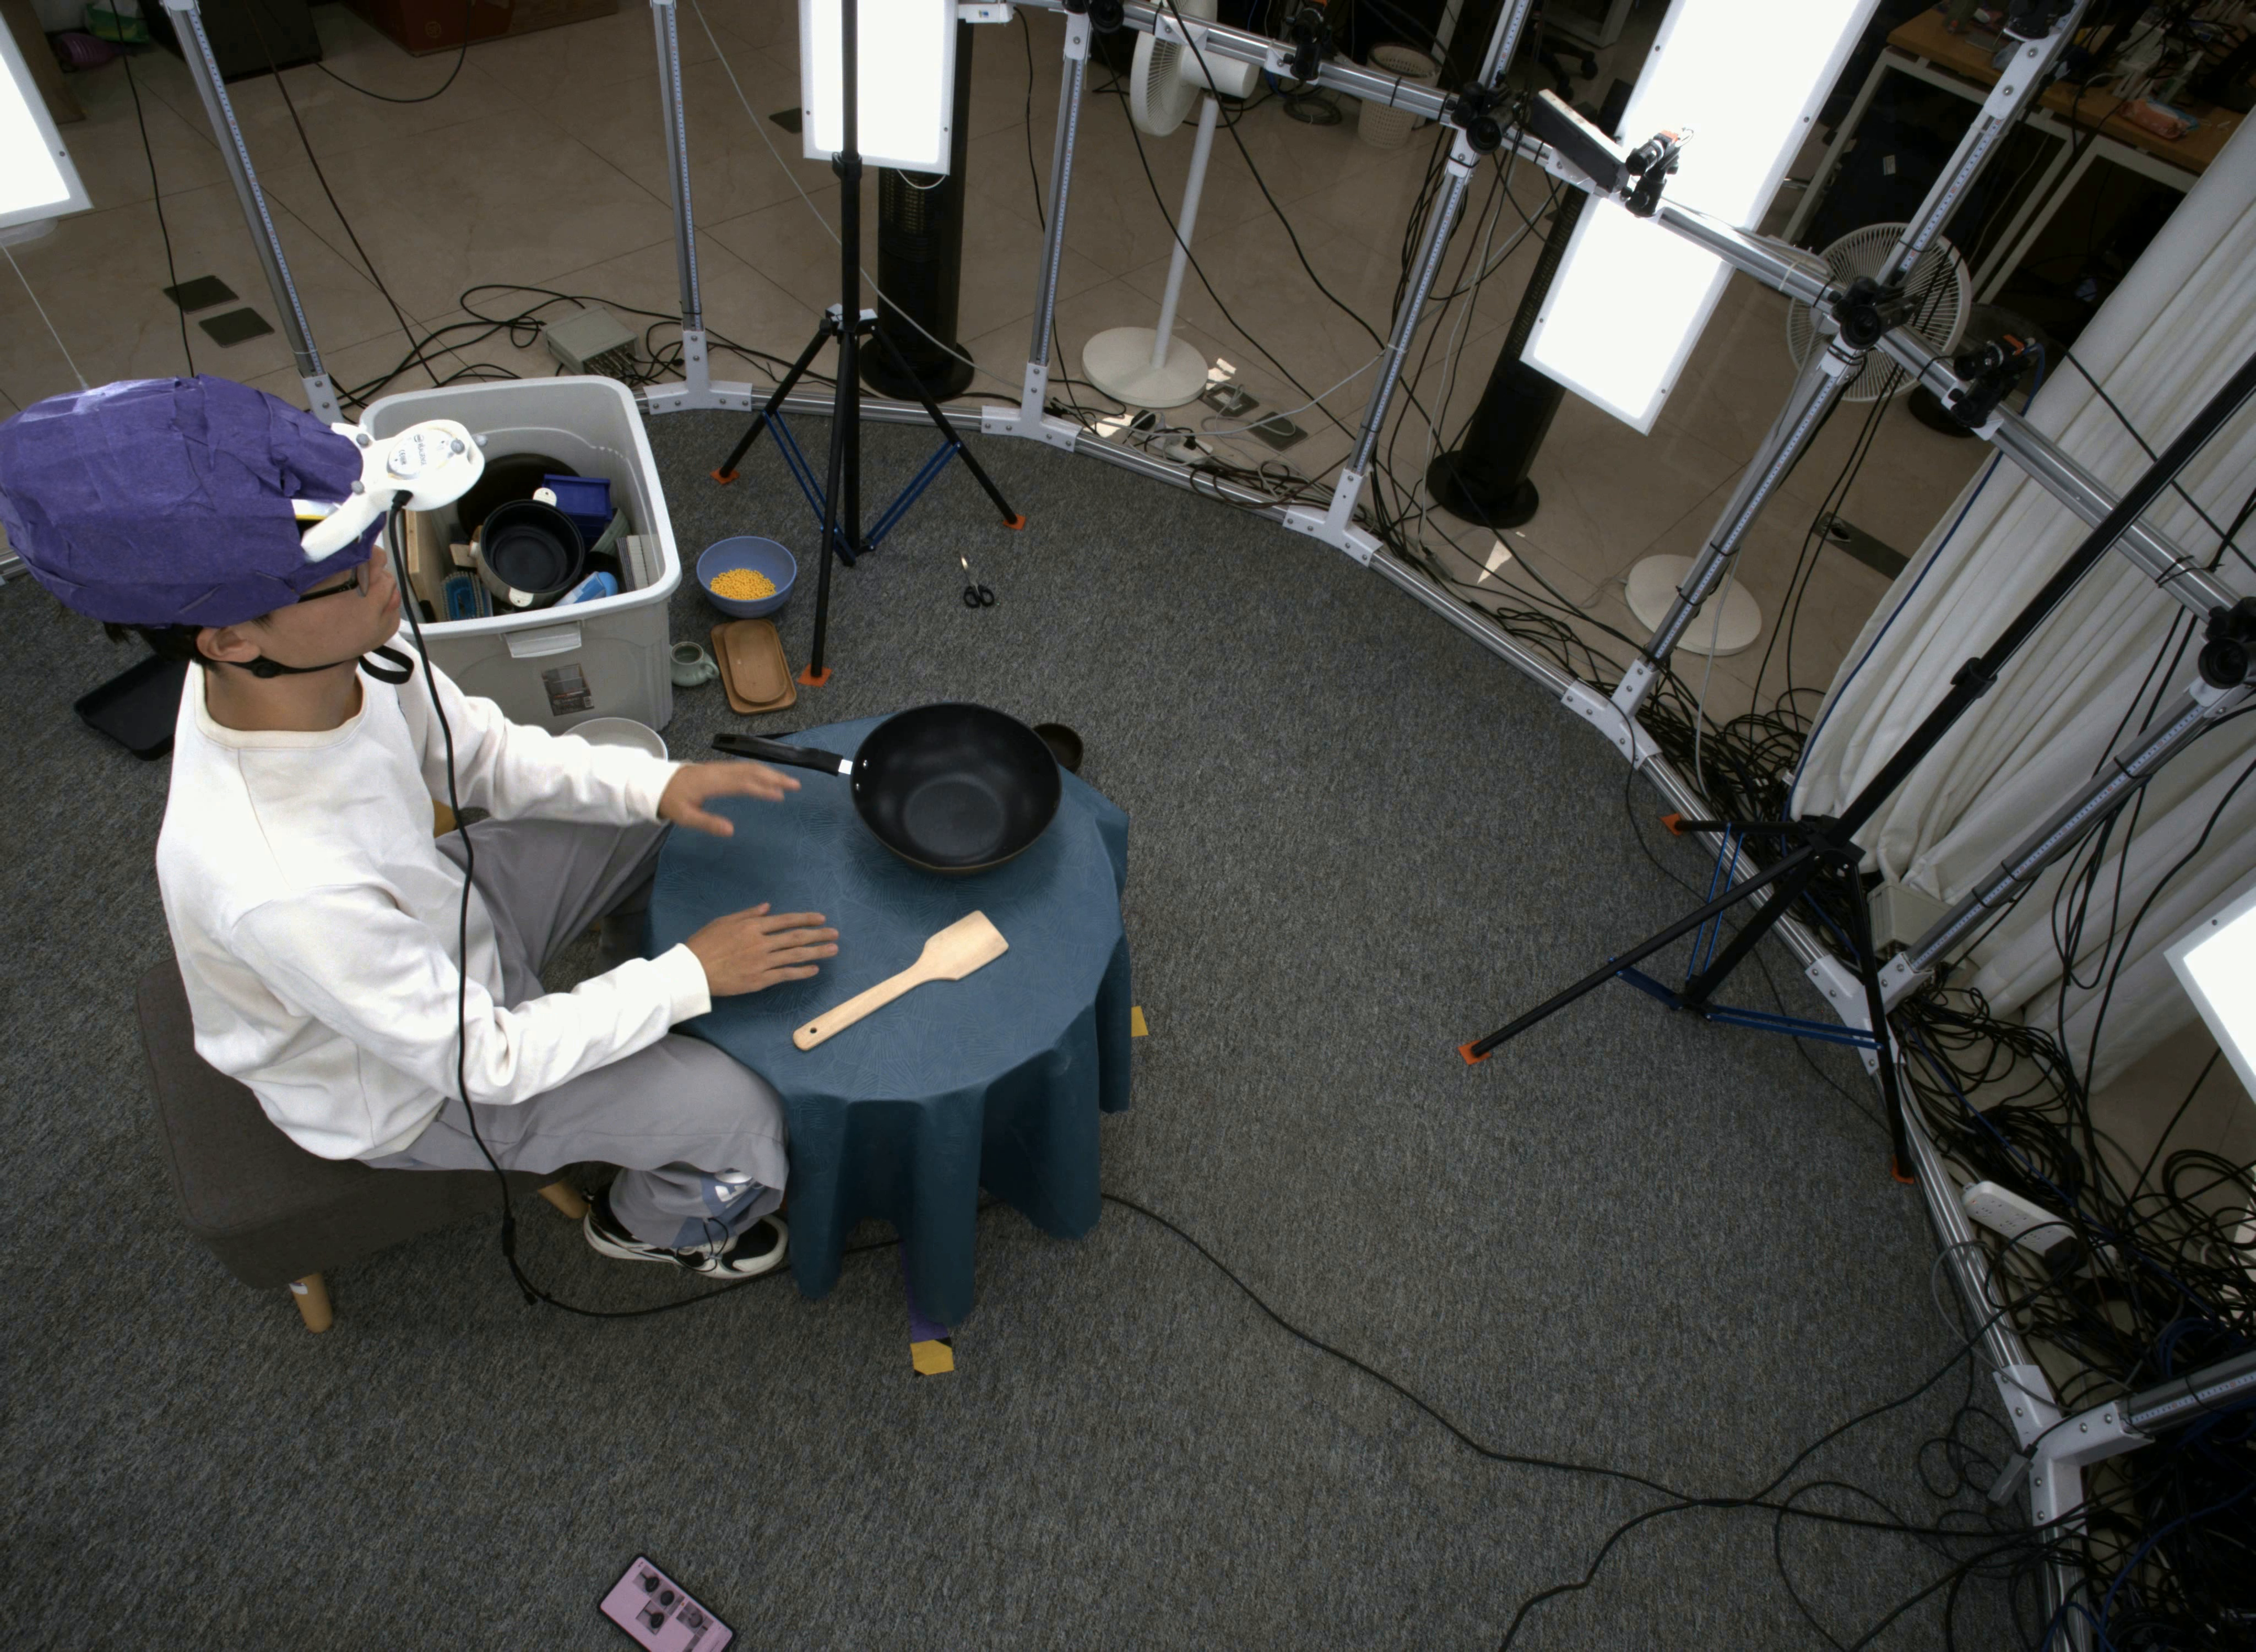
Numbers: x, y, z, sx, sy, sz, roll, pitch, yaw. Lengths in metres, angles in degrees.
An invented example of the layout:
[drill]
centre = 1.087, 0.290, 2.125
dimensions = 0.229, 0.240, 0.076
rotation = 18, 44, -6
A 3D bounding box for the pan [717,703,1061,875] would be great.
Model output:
[pan]
centre = -0.320, -0.052, 1.746
dimensions = 0.460, 0.089, 0.283
rotation = 10, 52, -5

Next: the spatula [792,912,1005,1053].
[spatula]
centre = -0.286, 0.197, 1.616
dimensions = 0.294, 0.011, 0.070
rotation = -30, 67, -30
